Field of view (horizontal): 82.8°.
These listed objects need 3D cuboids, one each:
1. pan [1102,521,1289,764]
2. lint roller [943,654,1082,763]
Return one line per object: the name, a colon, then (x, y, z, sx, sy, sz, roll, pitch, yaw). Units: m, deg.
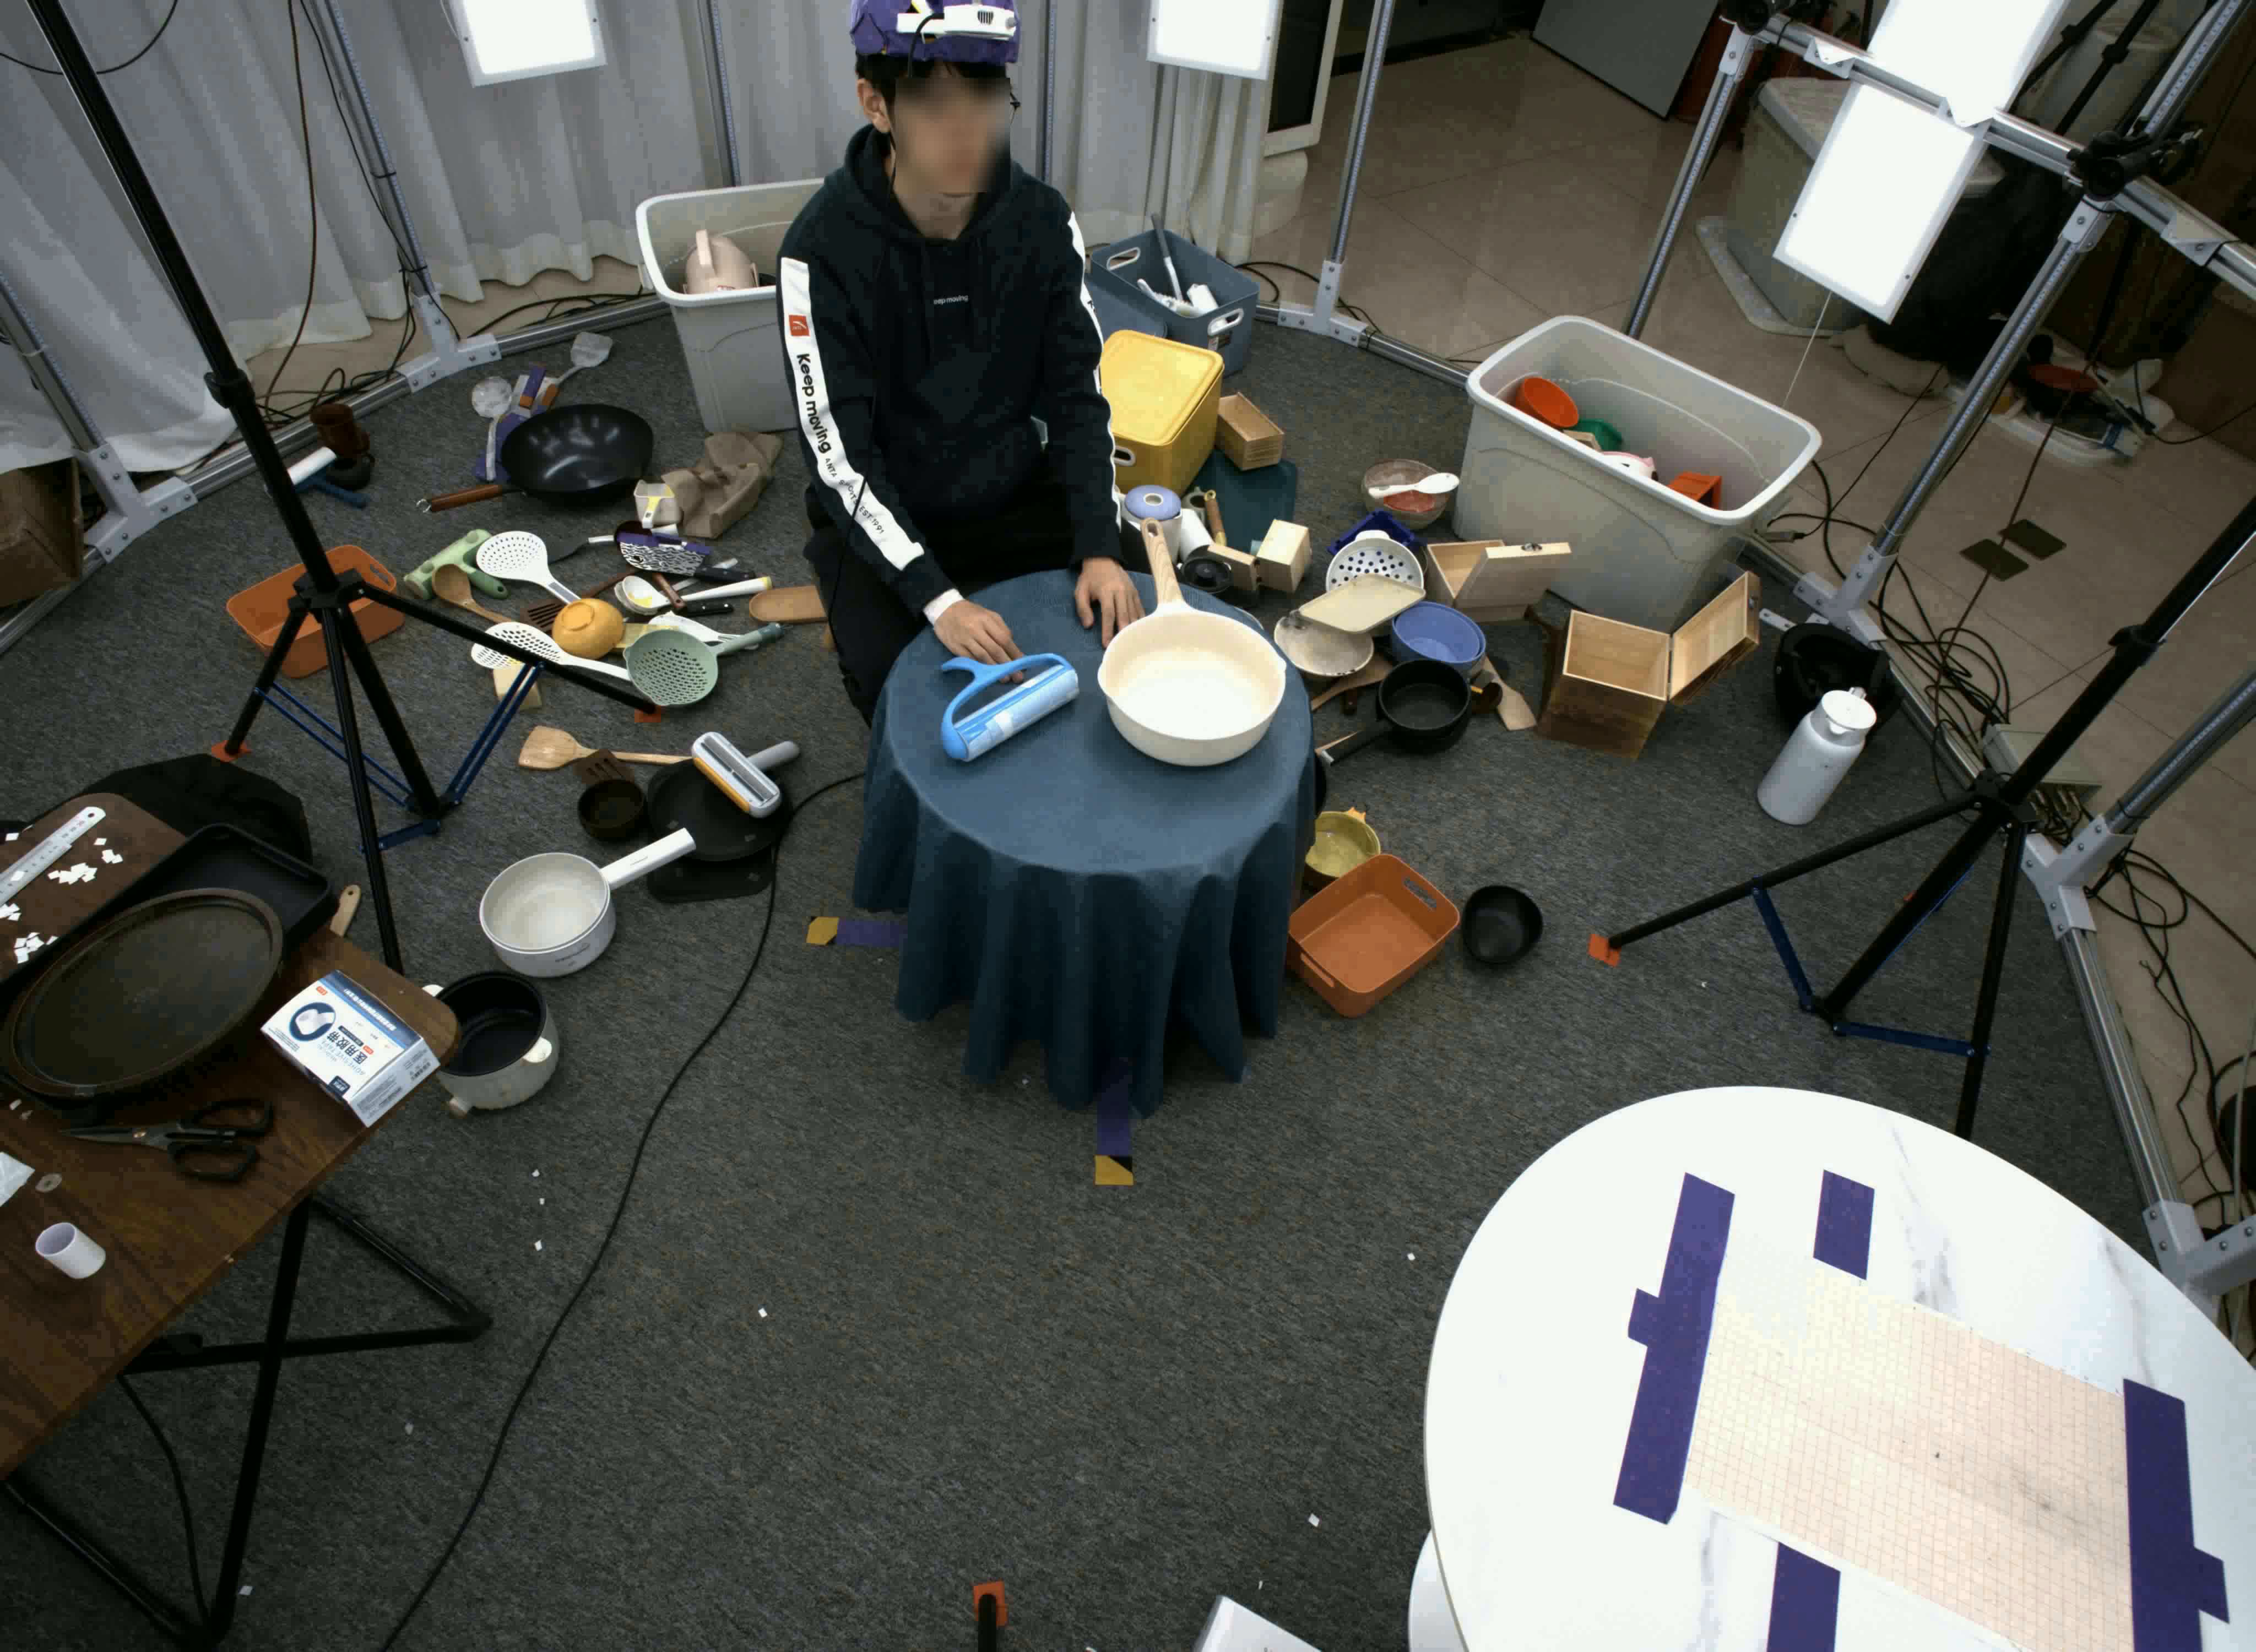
pan: (0.073, -0.262, 1.835, 0.263, 0.099, 0.446, -8, 50, -9)
lint roller: (-0.196, -0.190, 1.784, 0.183, 0.066, 0.231, 38, 58, 25)
